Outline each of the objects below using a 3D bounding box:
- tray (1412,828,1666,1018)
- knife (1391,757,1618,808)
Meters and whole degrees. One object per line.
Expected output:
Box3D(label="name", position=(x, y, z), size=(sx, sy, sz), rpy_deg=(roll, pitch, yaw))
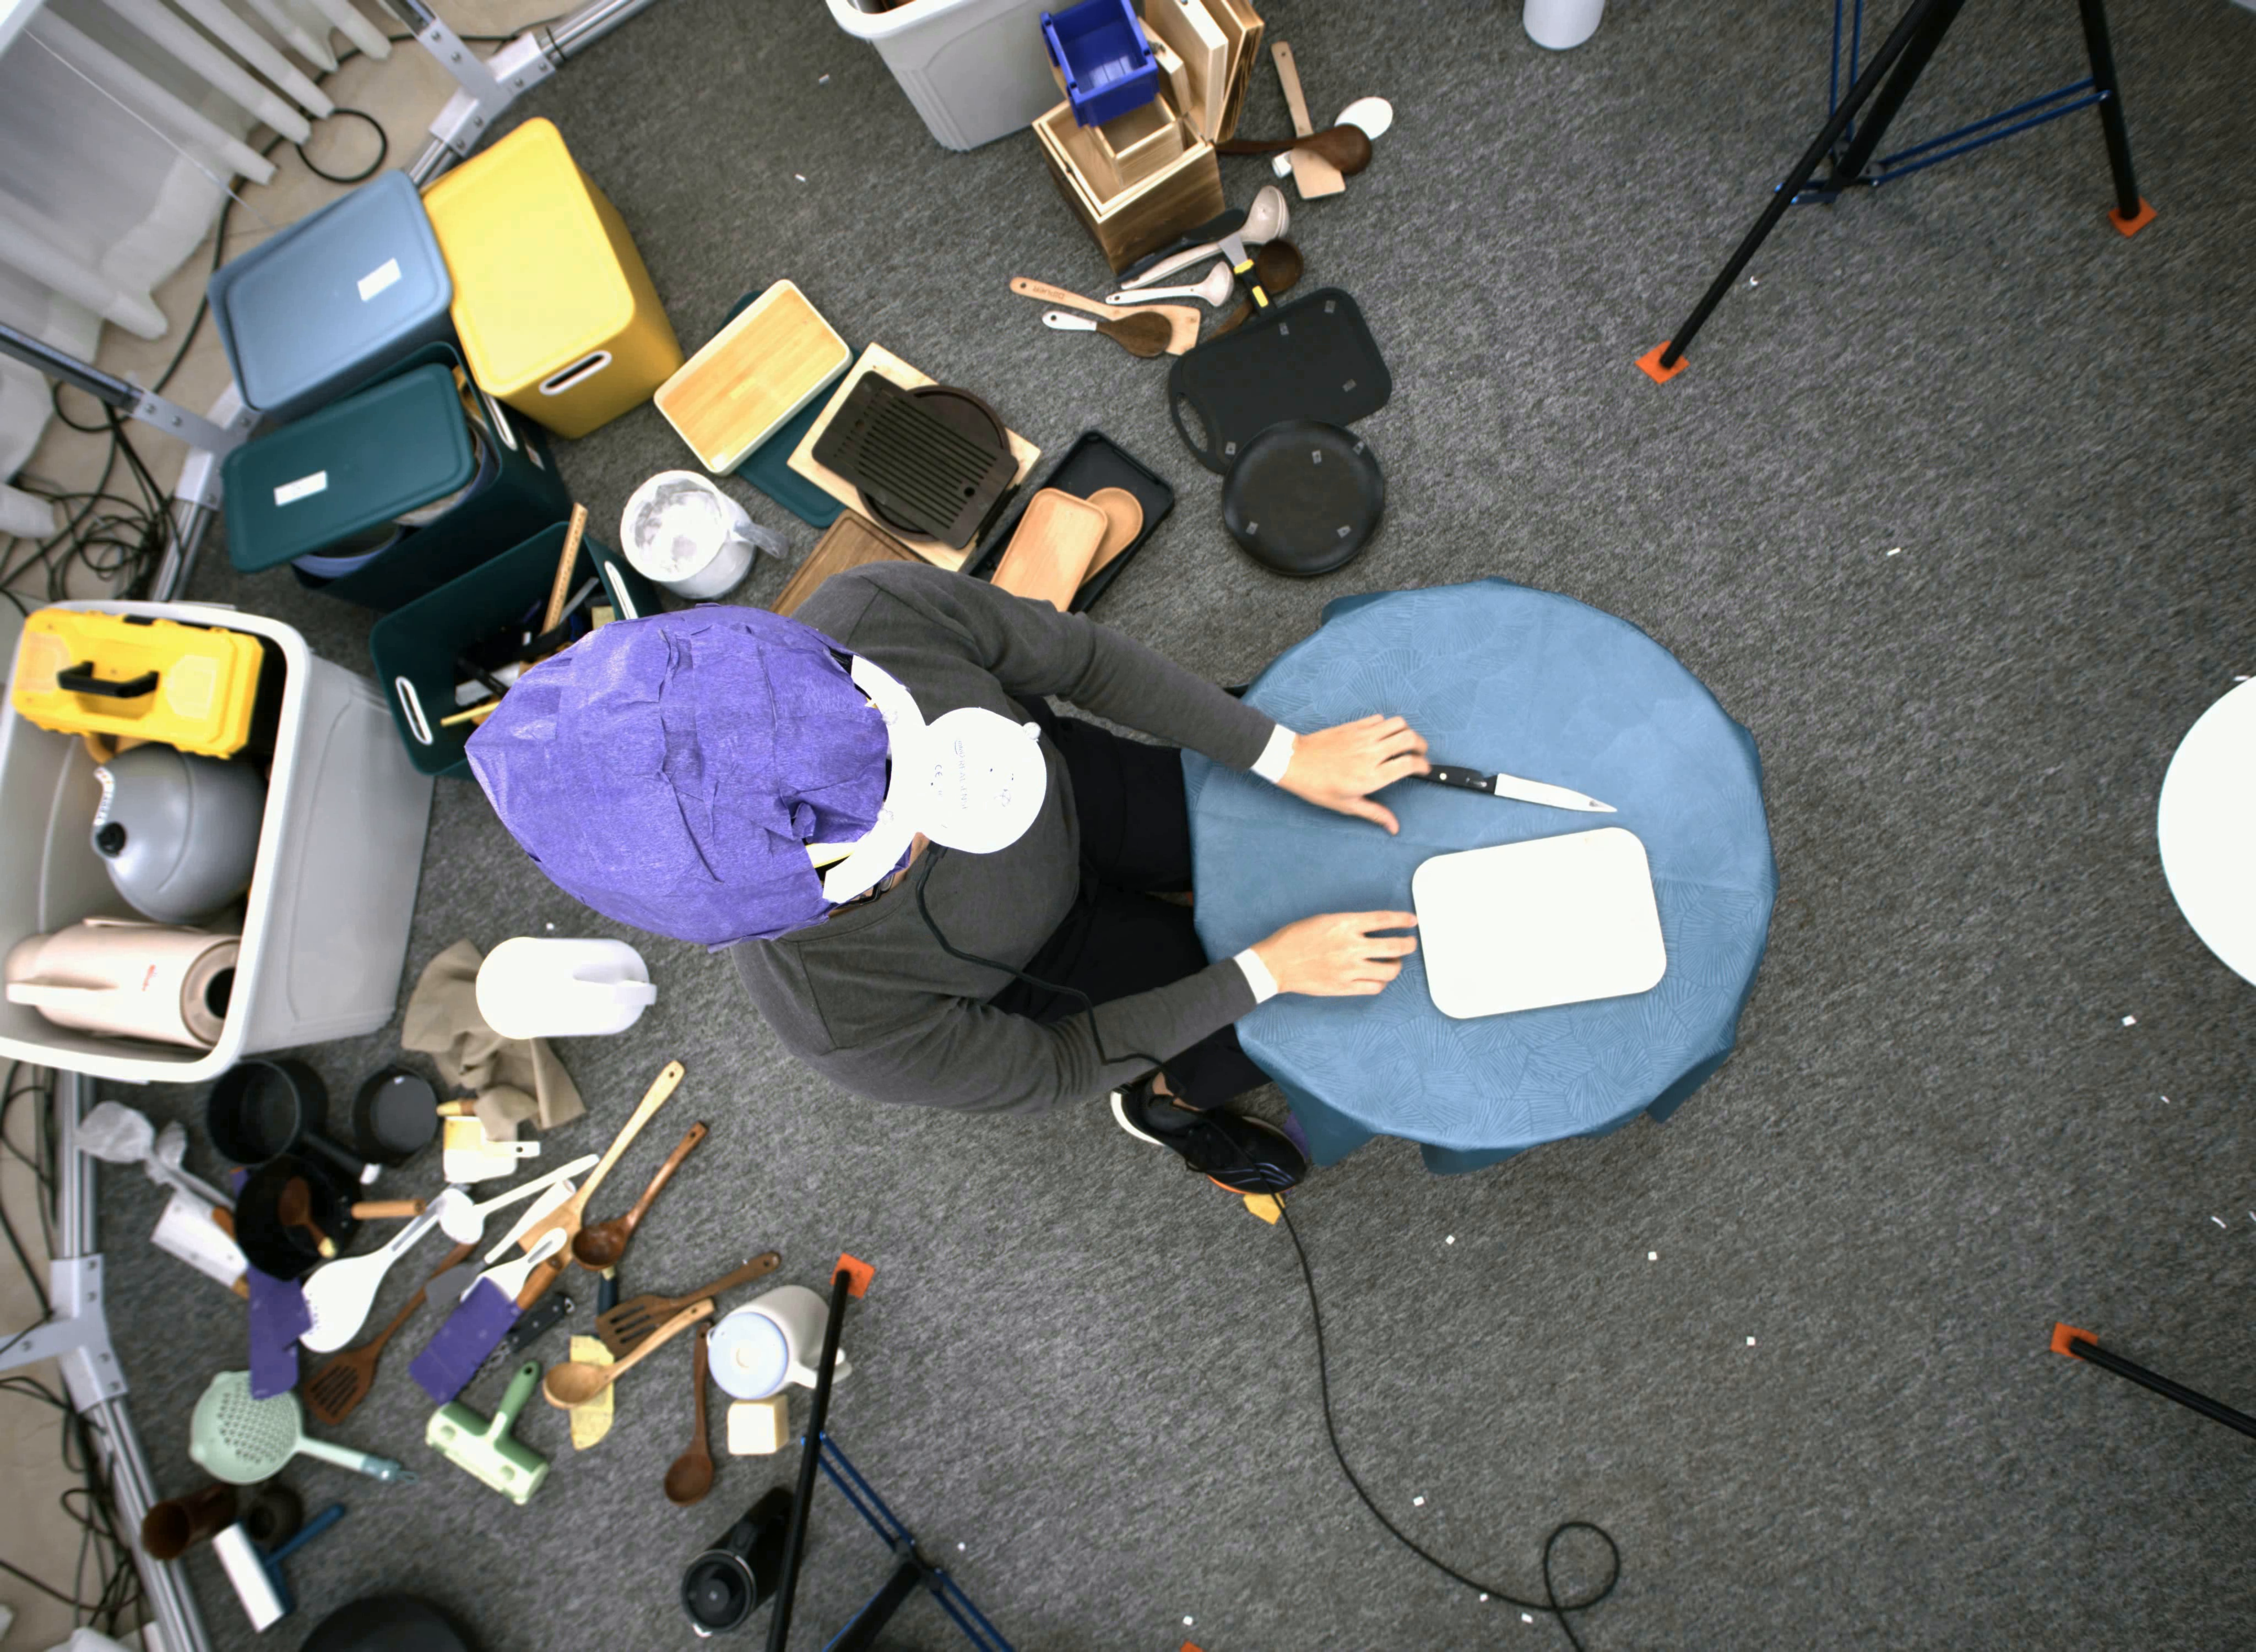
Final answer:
Box3D(label="tray", position=(0.422, 0.098, 1.421), size=(0.241, 0.017, 0.170), rpy_deg=(-10, 86, 10))
Box3D(label="knife", position=(0.393, -0.044, 1.438), size=(0.238, 0.016, 0.024), rpy_deg=(11, 91, 8))
